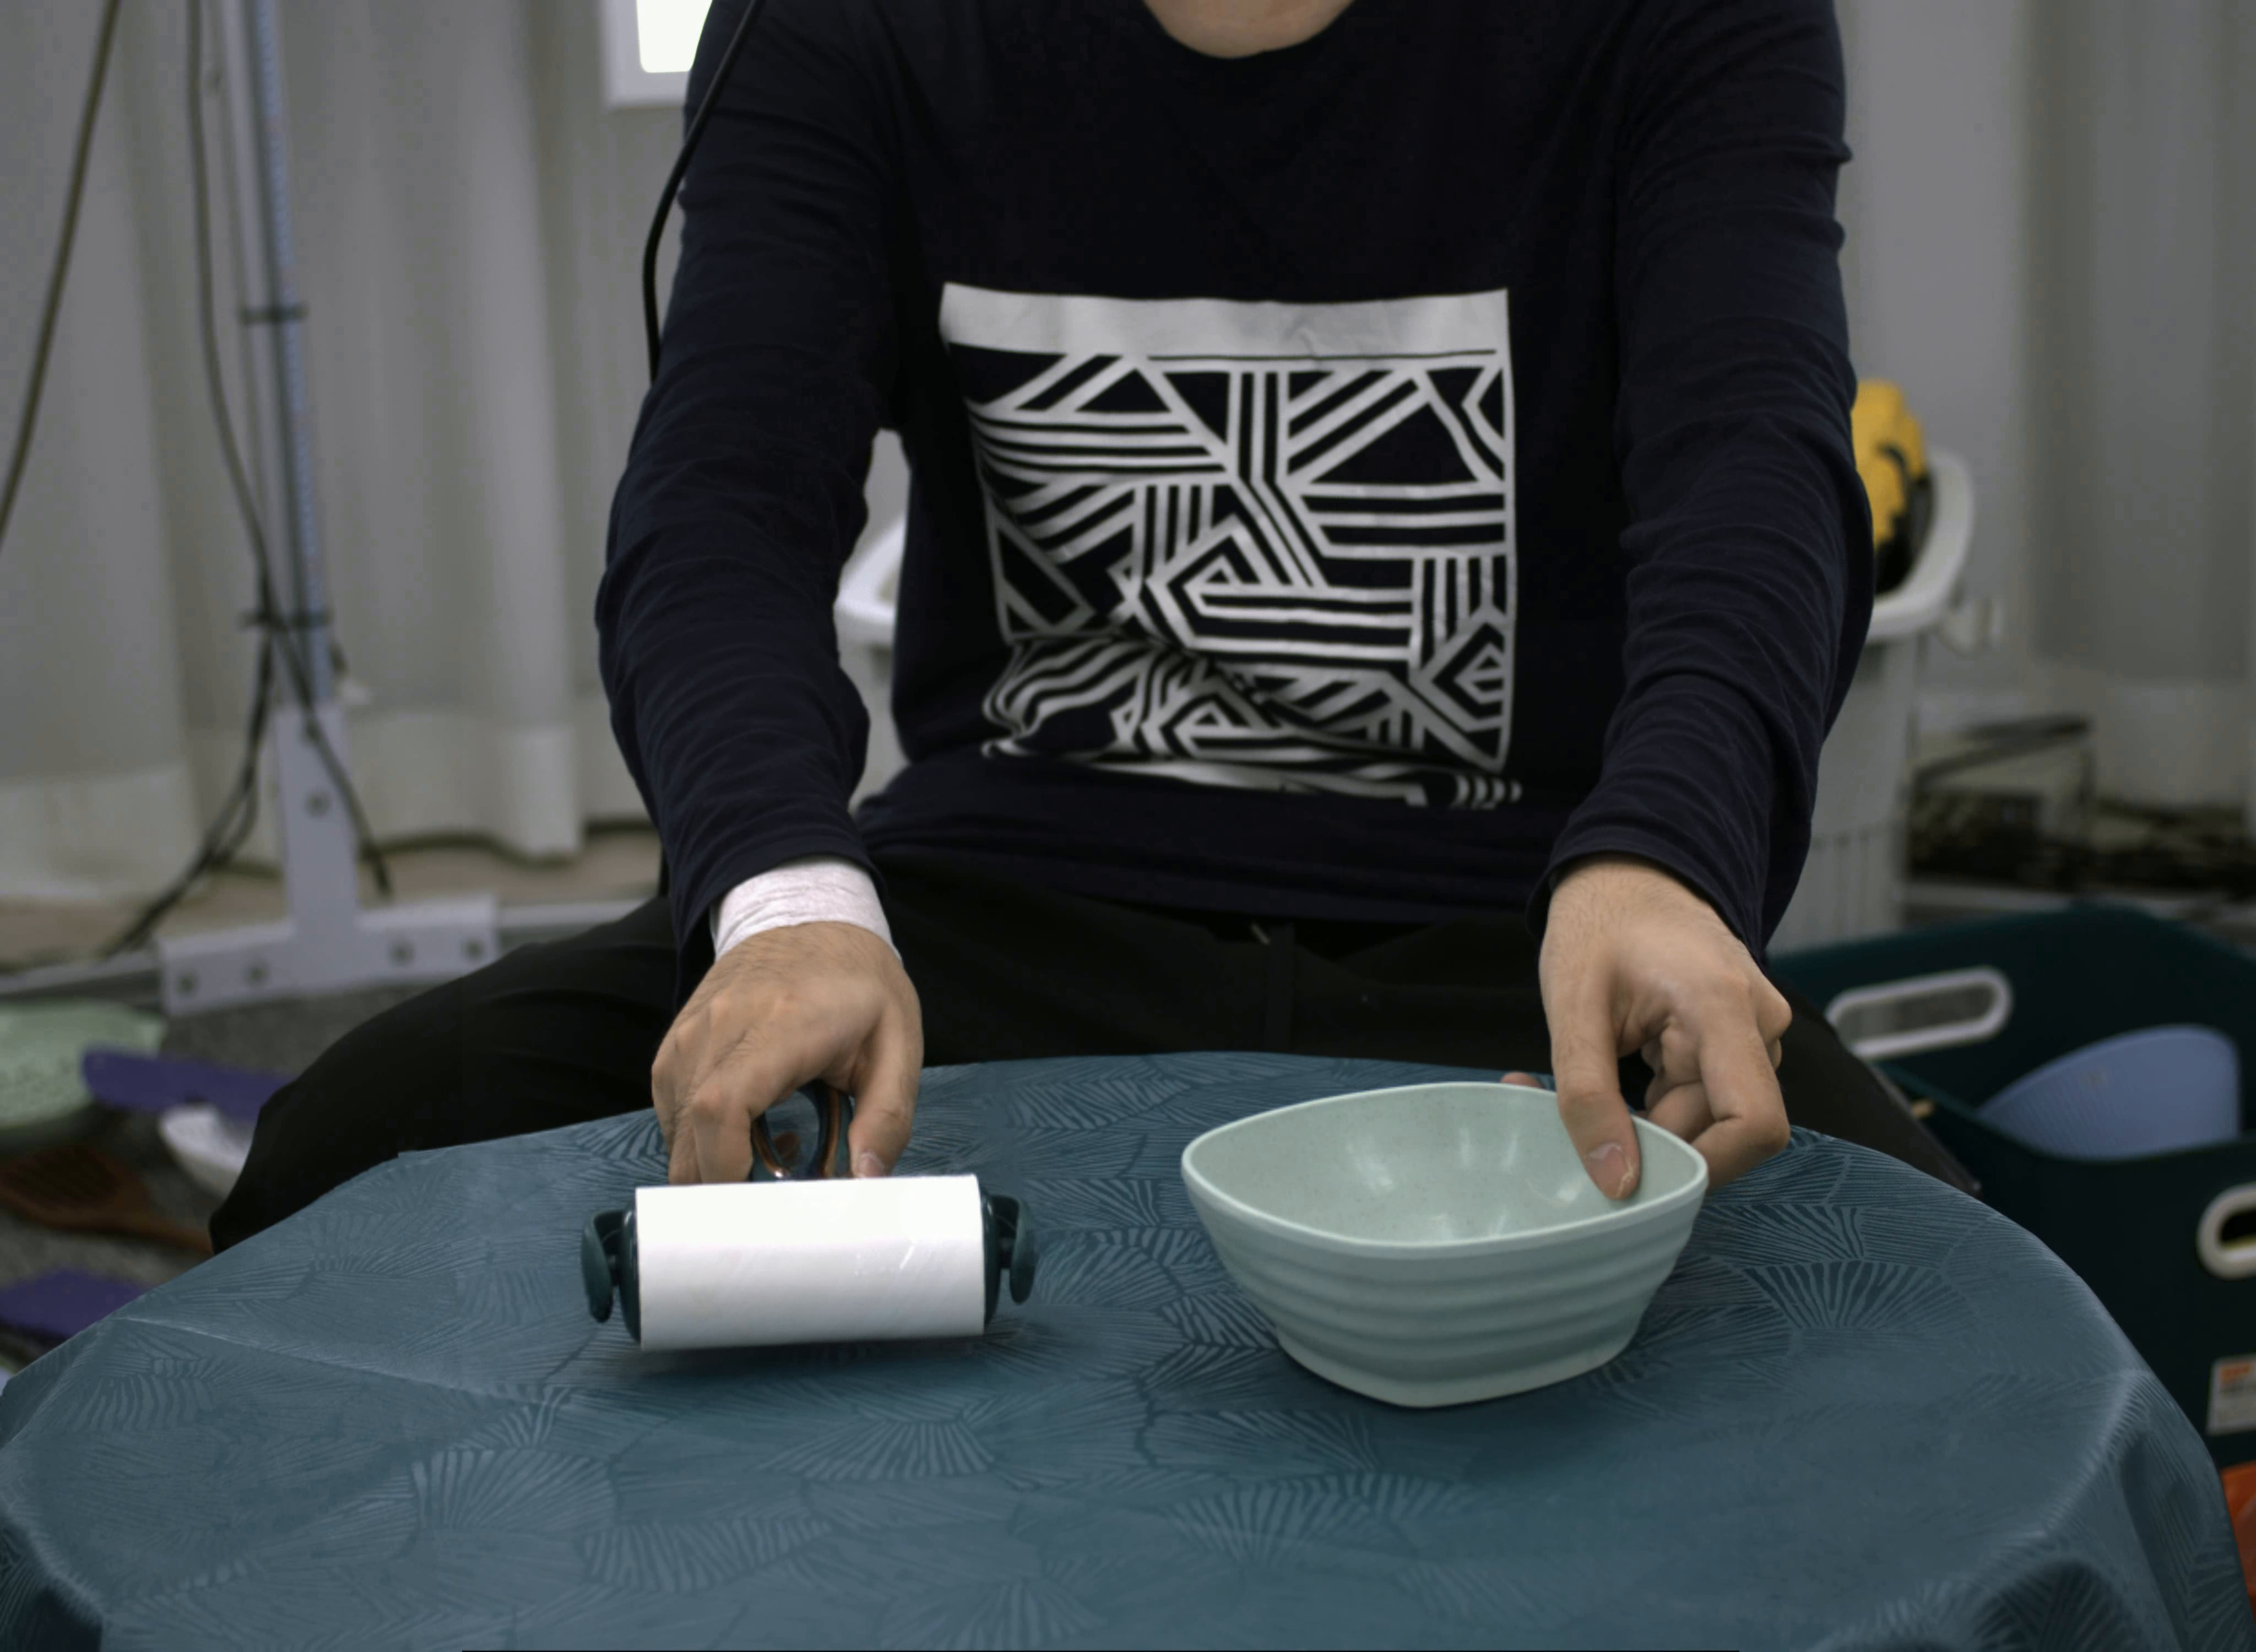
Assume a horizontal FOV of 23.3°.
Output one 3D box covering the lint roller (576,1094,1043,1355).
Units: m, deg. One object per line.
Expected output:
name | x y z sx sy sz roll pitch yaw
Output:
lint roller | -0.100 0.102 1.644 0.134 0.048 0.182 -2 23 -6

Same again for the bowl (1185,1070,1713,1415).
bowl | 0.091 0.122 1.559 0.151 0.058 0.152 -2 17 0
